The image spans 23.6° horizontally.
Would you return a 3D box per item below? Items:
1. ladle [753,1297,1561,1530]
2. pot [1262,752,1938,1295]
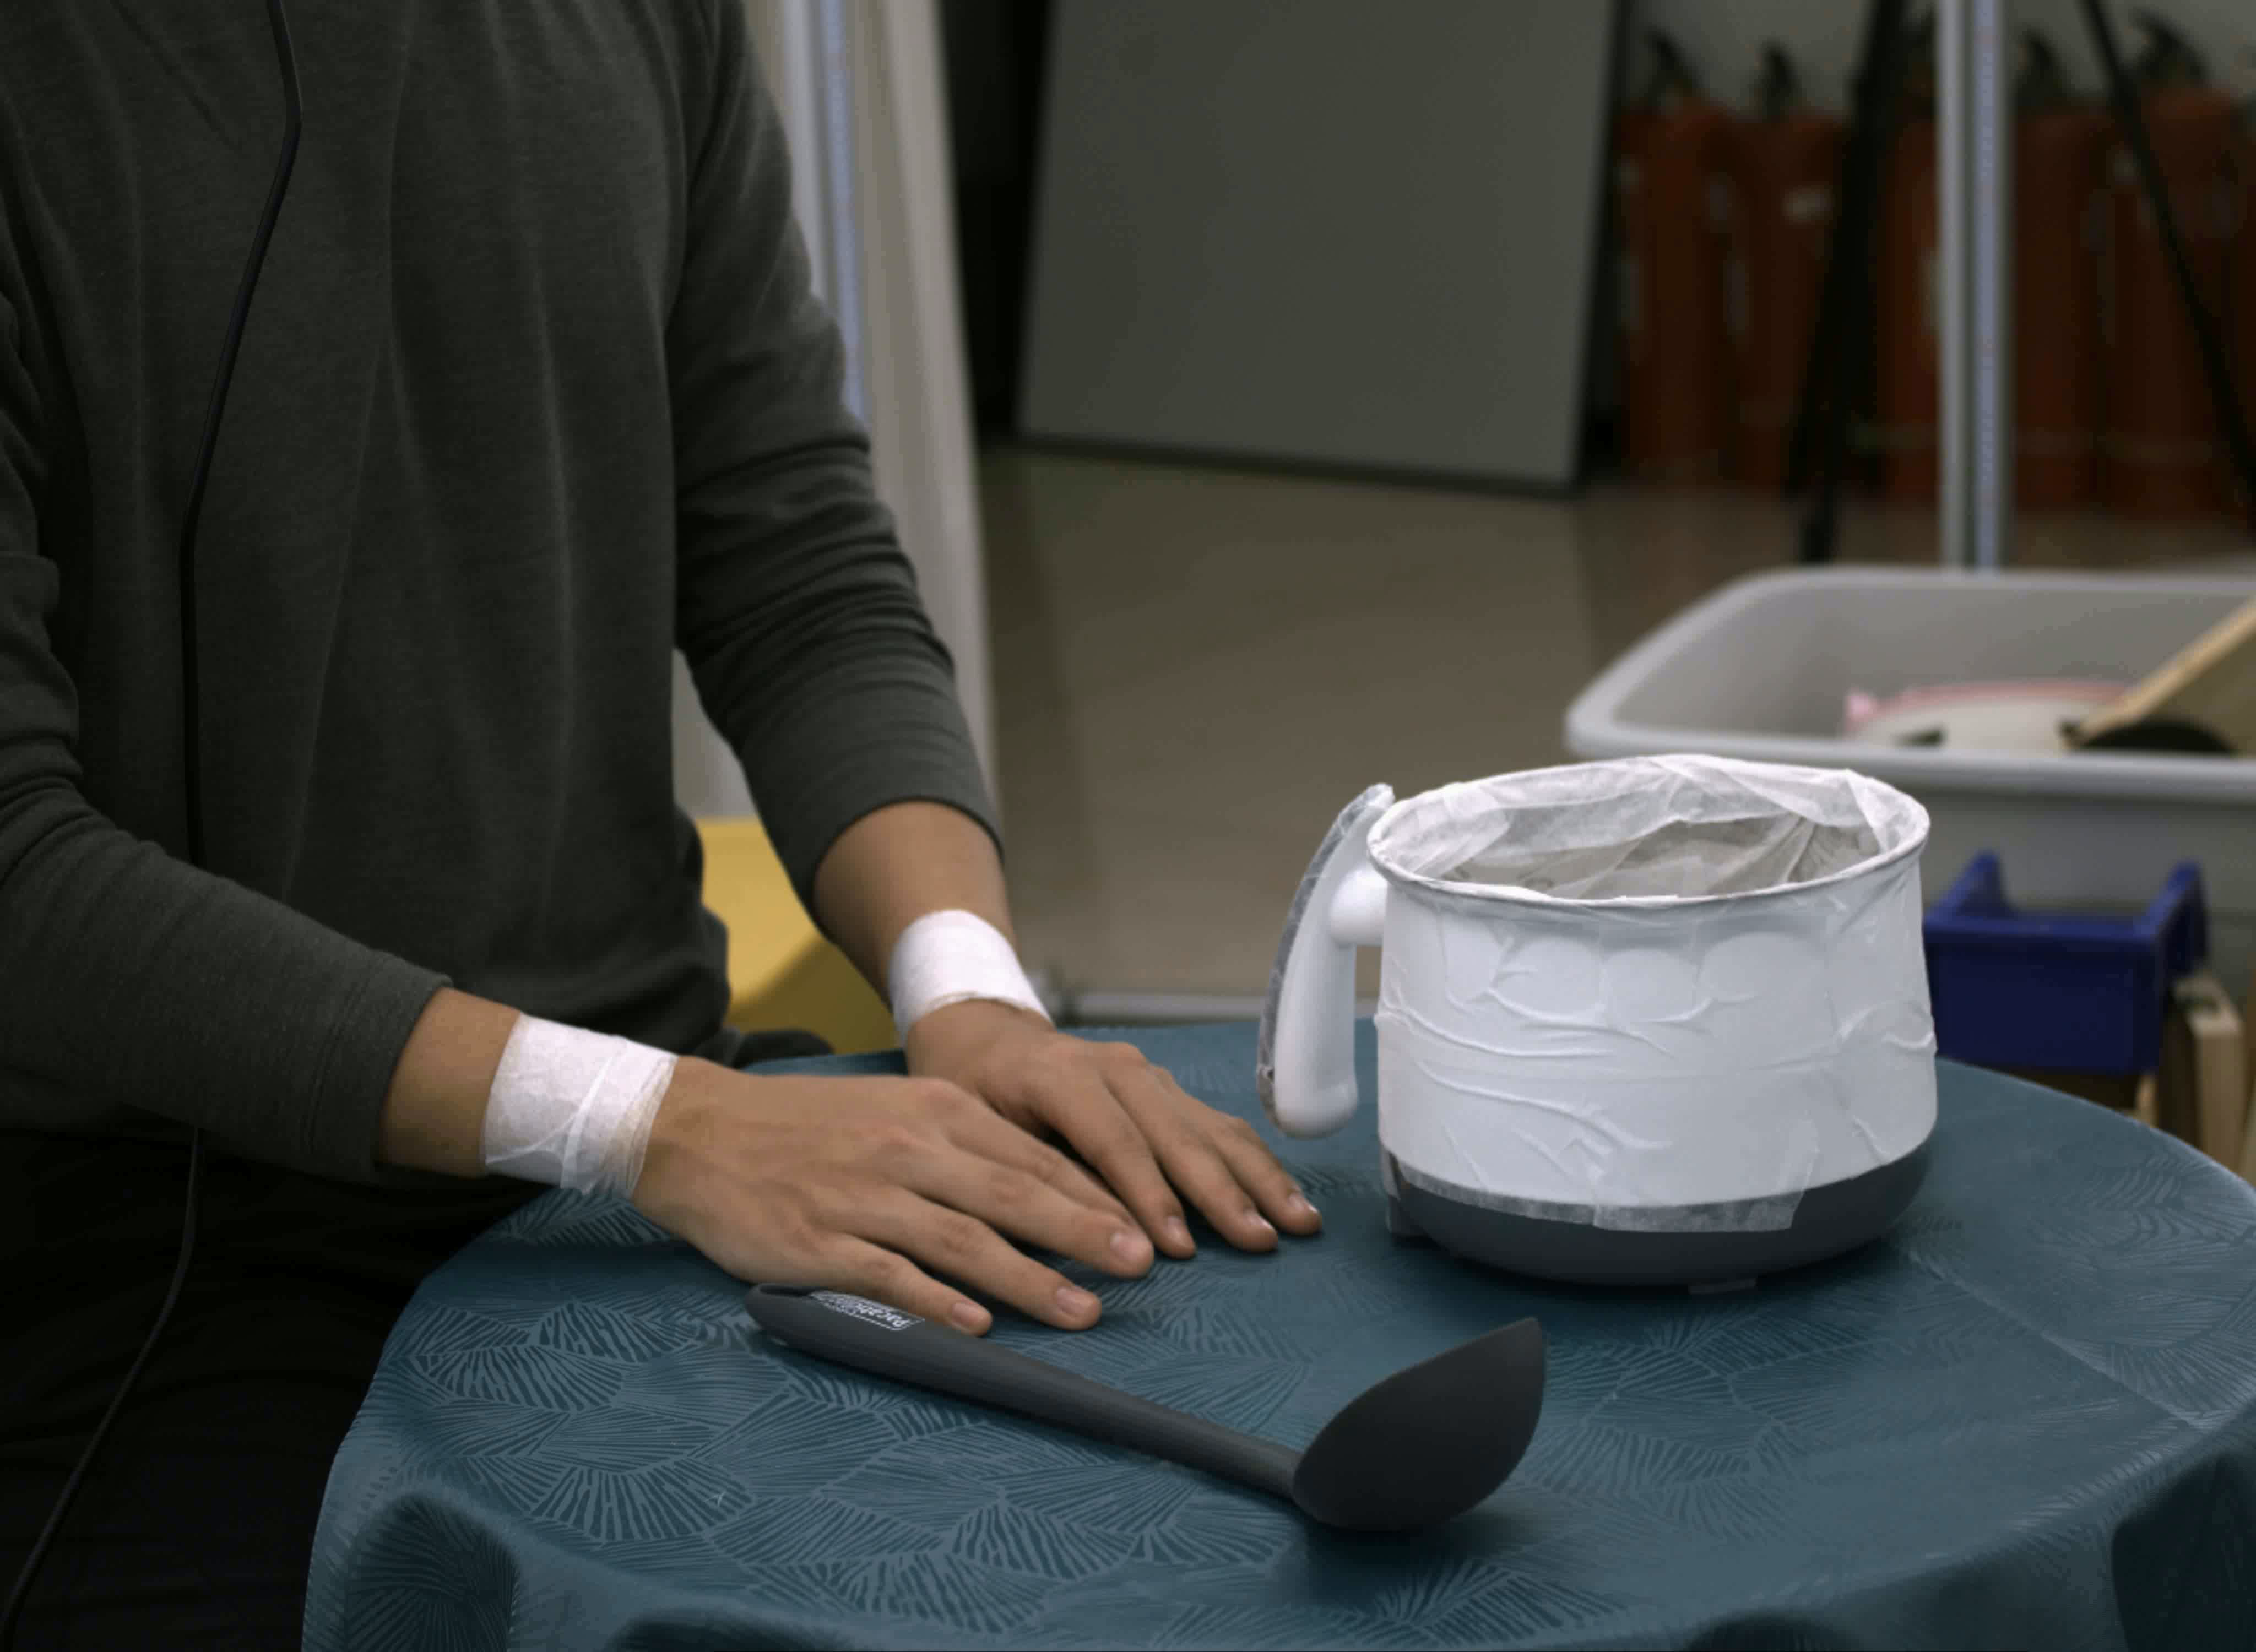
[{"bbox_3d":[-0.006,0.146,1.540,0.084,0.065,0.317,-9,13,-41],"label":"ladle"},{"bbox_3d":[0.142,0.058,1.702,0.235,0.138,0.176,5,15,34],"label":"pot"}]
